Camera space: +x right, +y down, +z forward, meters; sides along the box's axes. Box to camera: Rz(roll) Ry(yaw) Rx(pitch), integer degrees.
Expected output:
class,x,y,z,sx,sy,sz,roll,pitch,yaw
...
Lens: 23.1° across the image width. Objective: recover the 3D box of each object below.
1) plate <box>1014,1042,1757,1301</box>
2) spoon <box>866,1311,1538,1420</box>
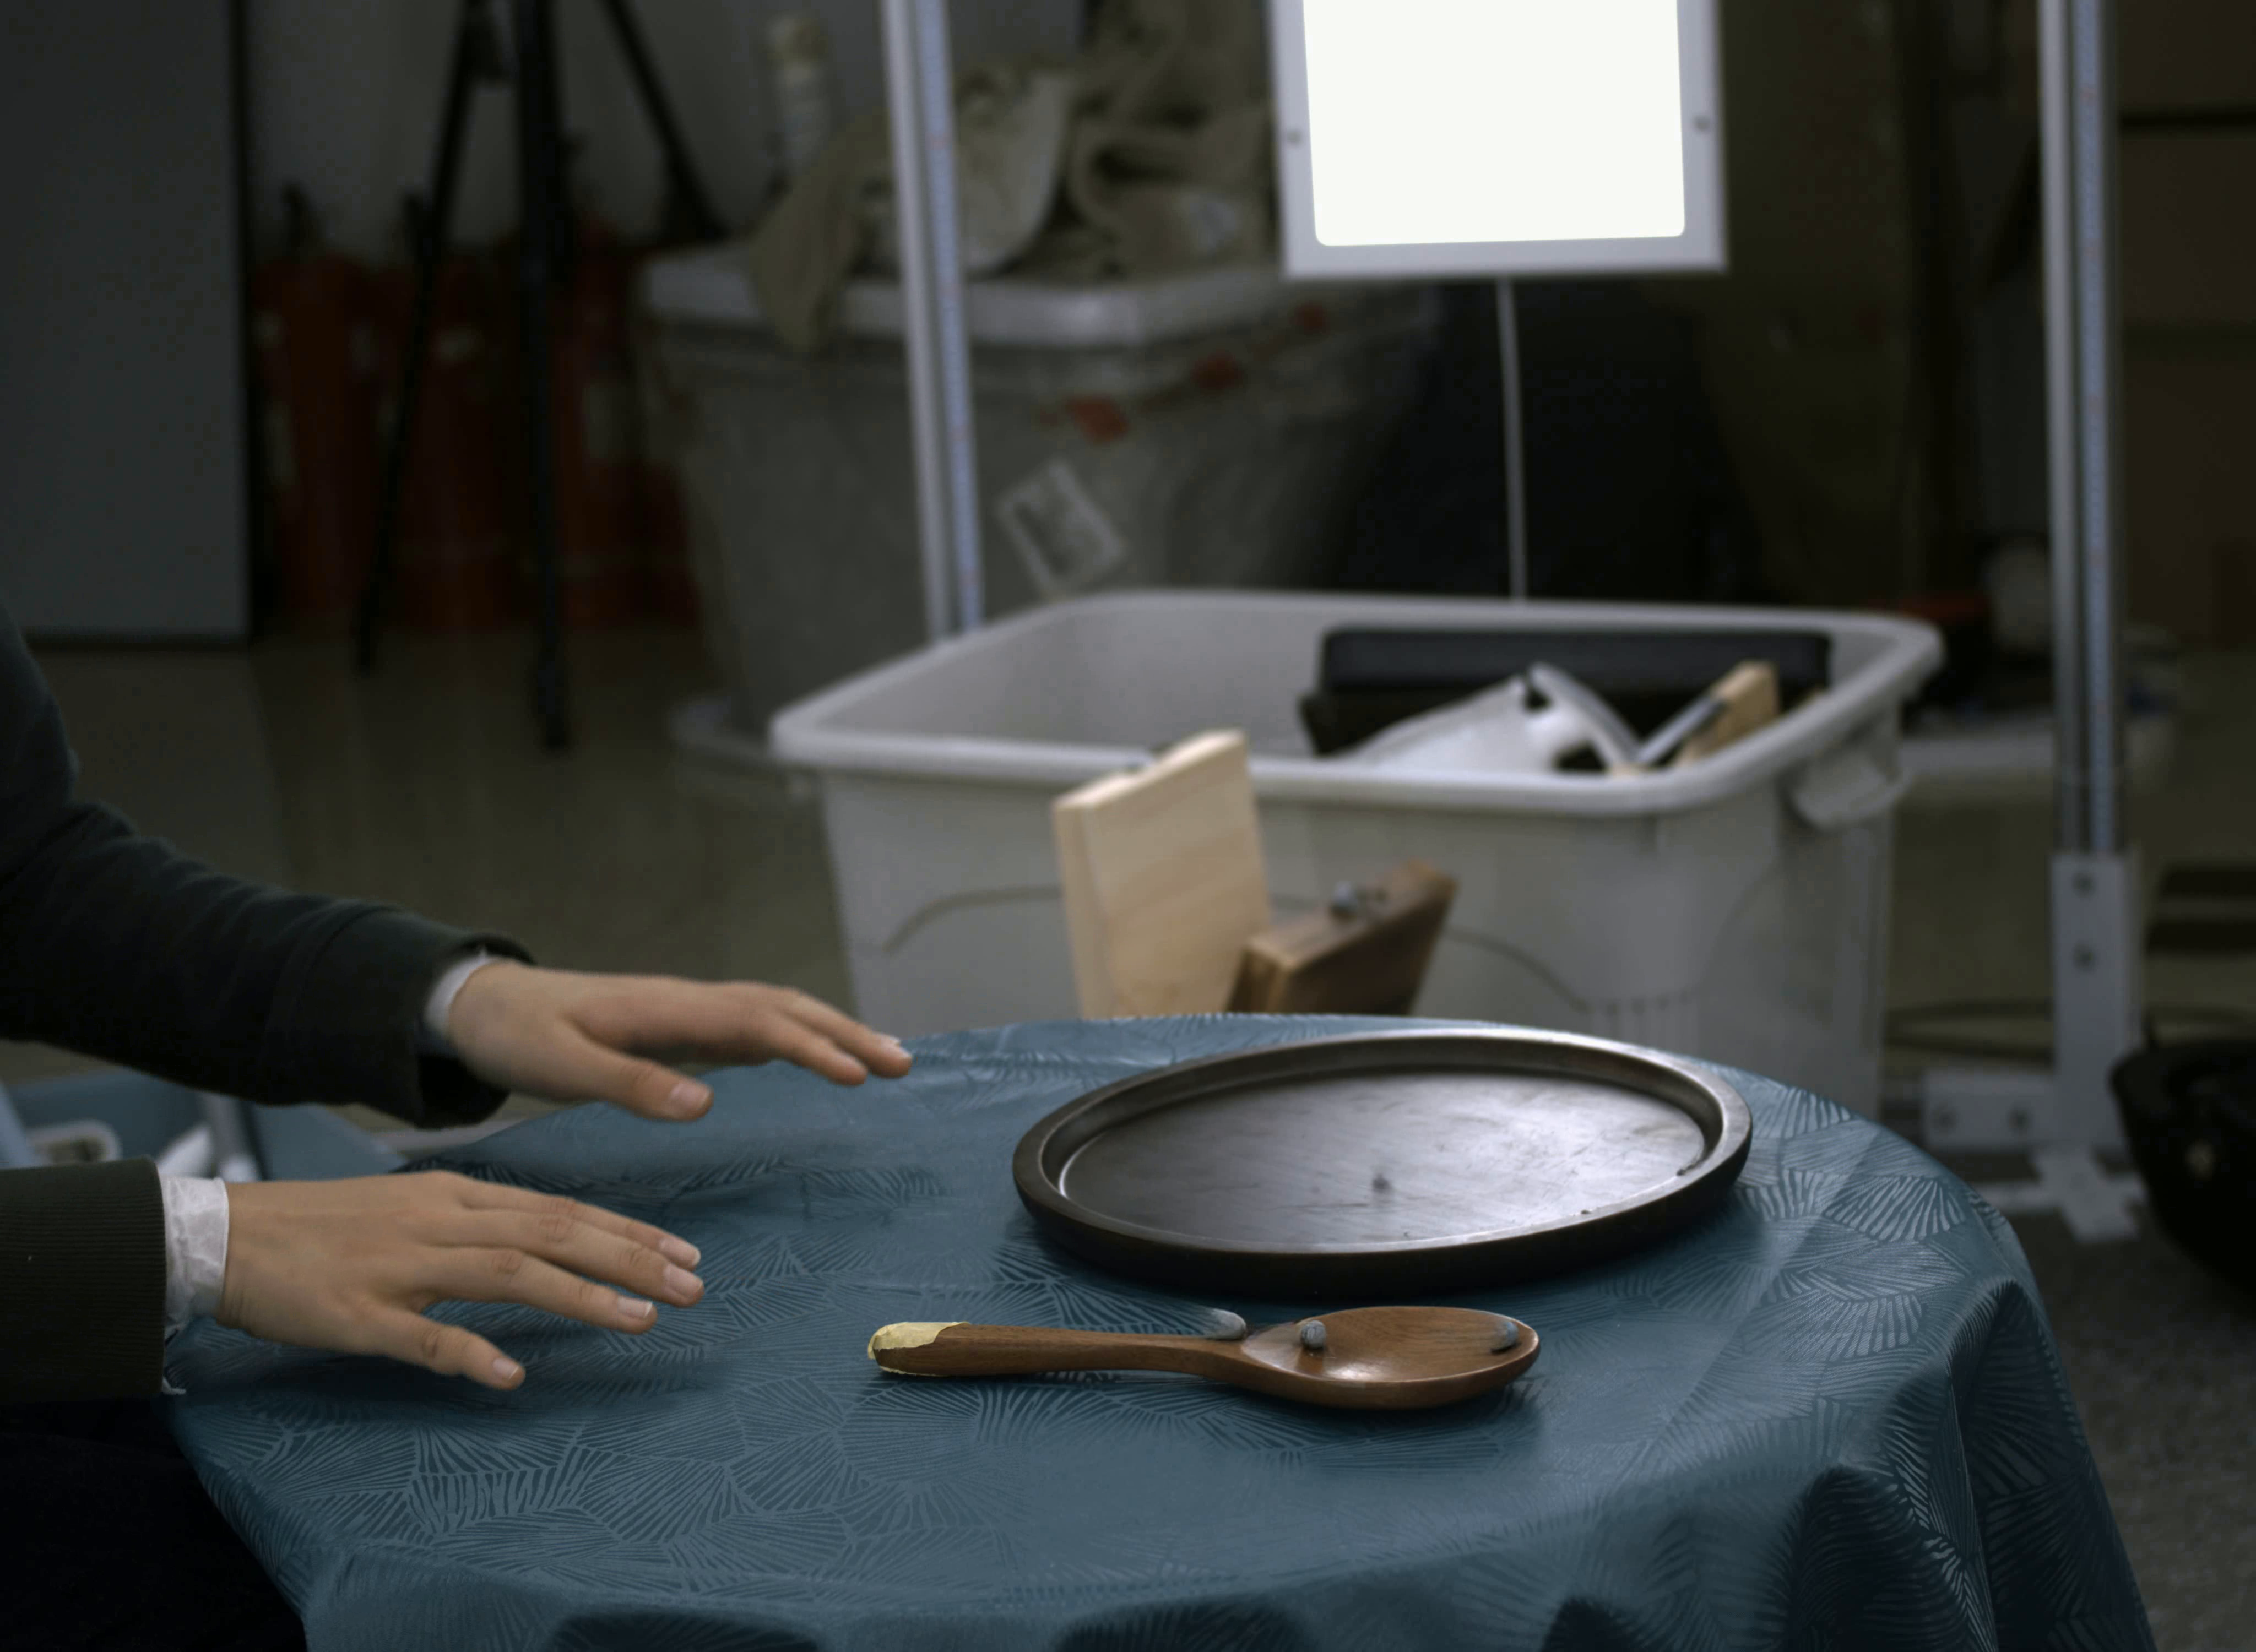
class,x,y,z,sx,sy,sz,roll,pitch,yaw
plate,0.087,0.114,1.869,0.254,0.029,0.254,-4,13,0
spoon,0.022,0.166,1.698,0.218,0.017,0.074,0,15,20
